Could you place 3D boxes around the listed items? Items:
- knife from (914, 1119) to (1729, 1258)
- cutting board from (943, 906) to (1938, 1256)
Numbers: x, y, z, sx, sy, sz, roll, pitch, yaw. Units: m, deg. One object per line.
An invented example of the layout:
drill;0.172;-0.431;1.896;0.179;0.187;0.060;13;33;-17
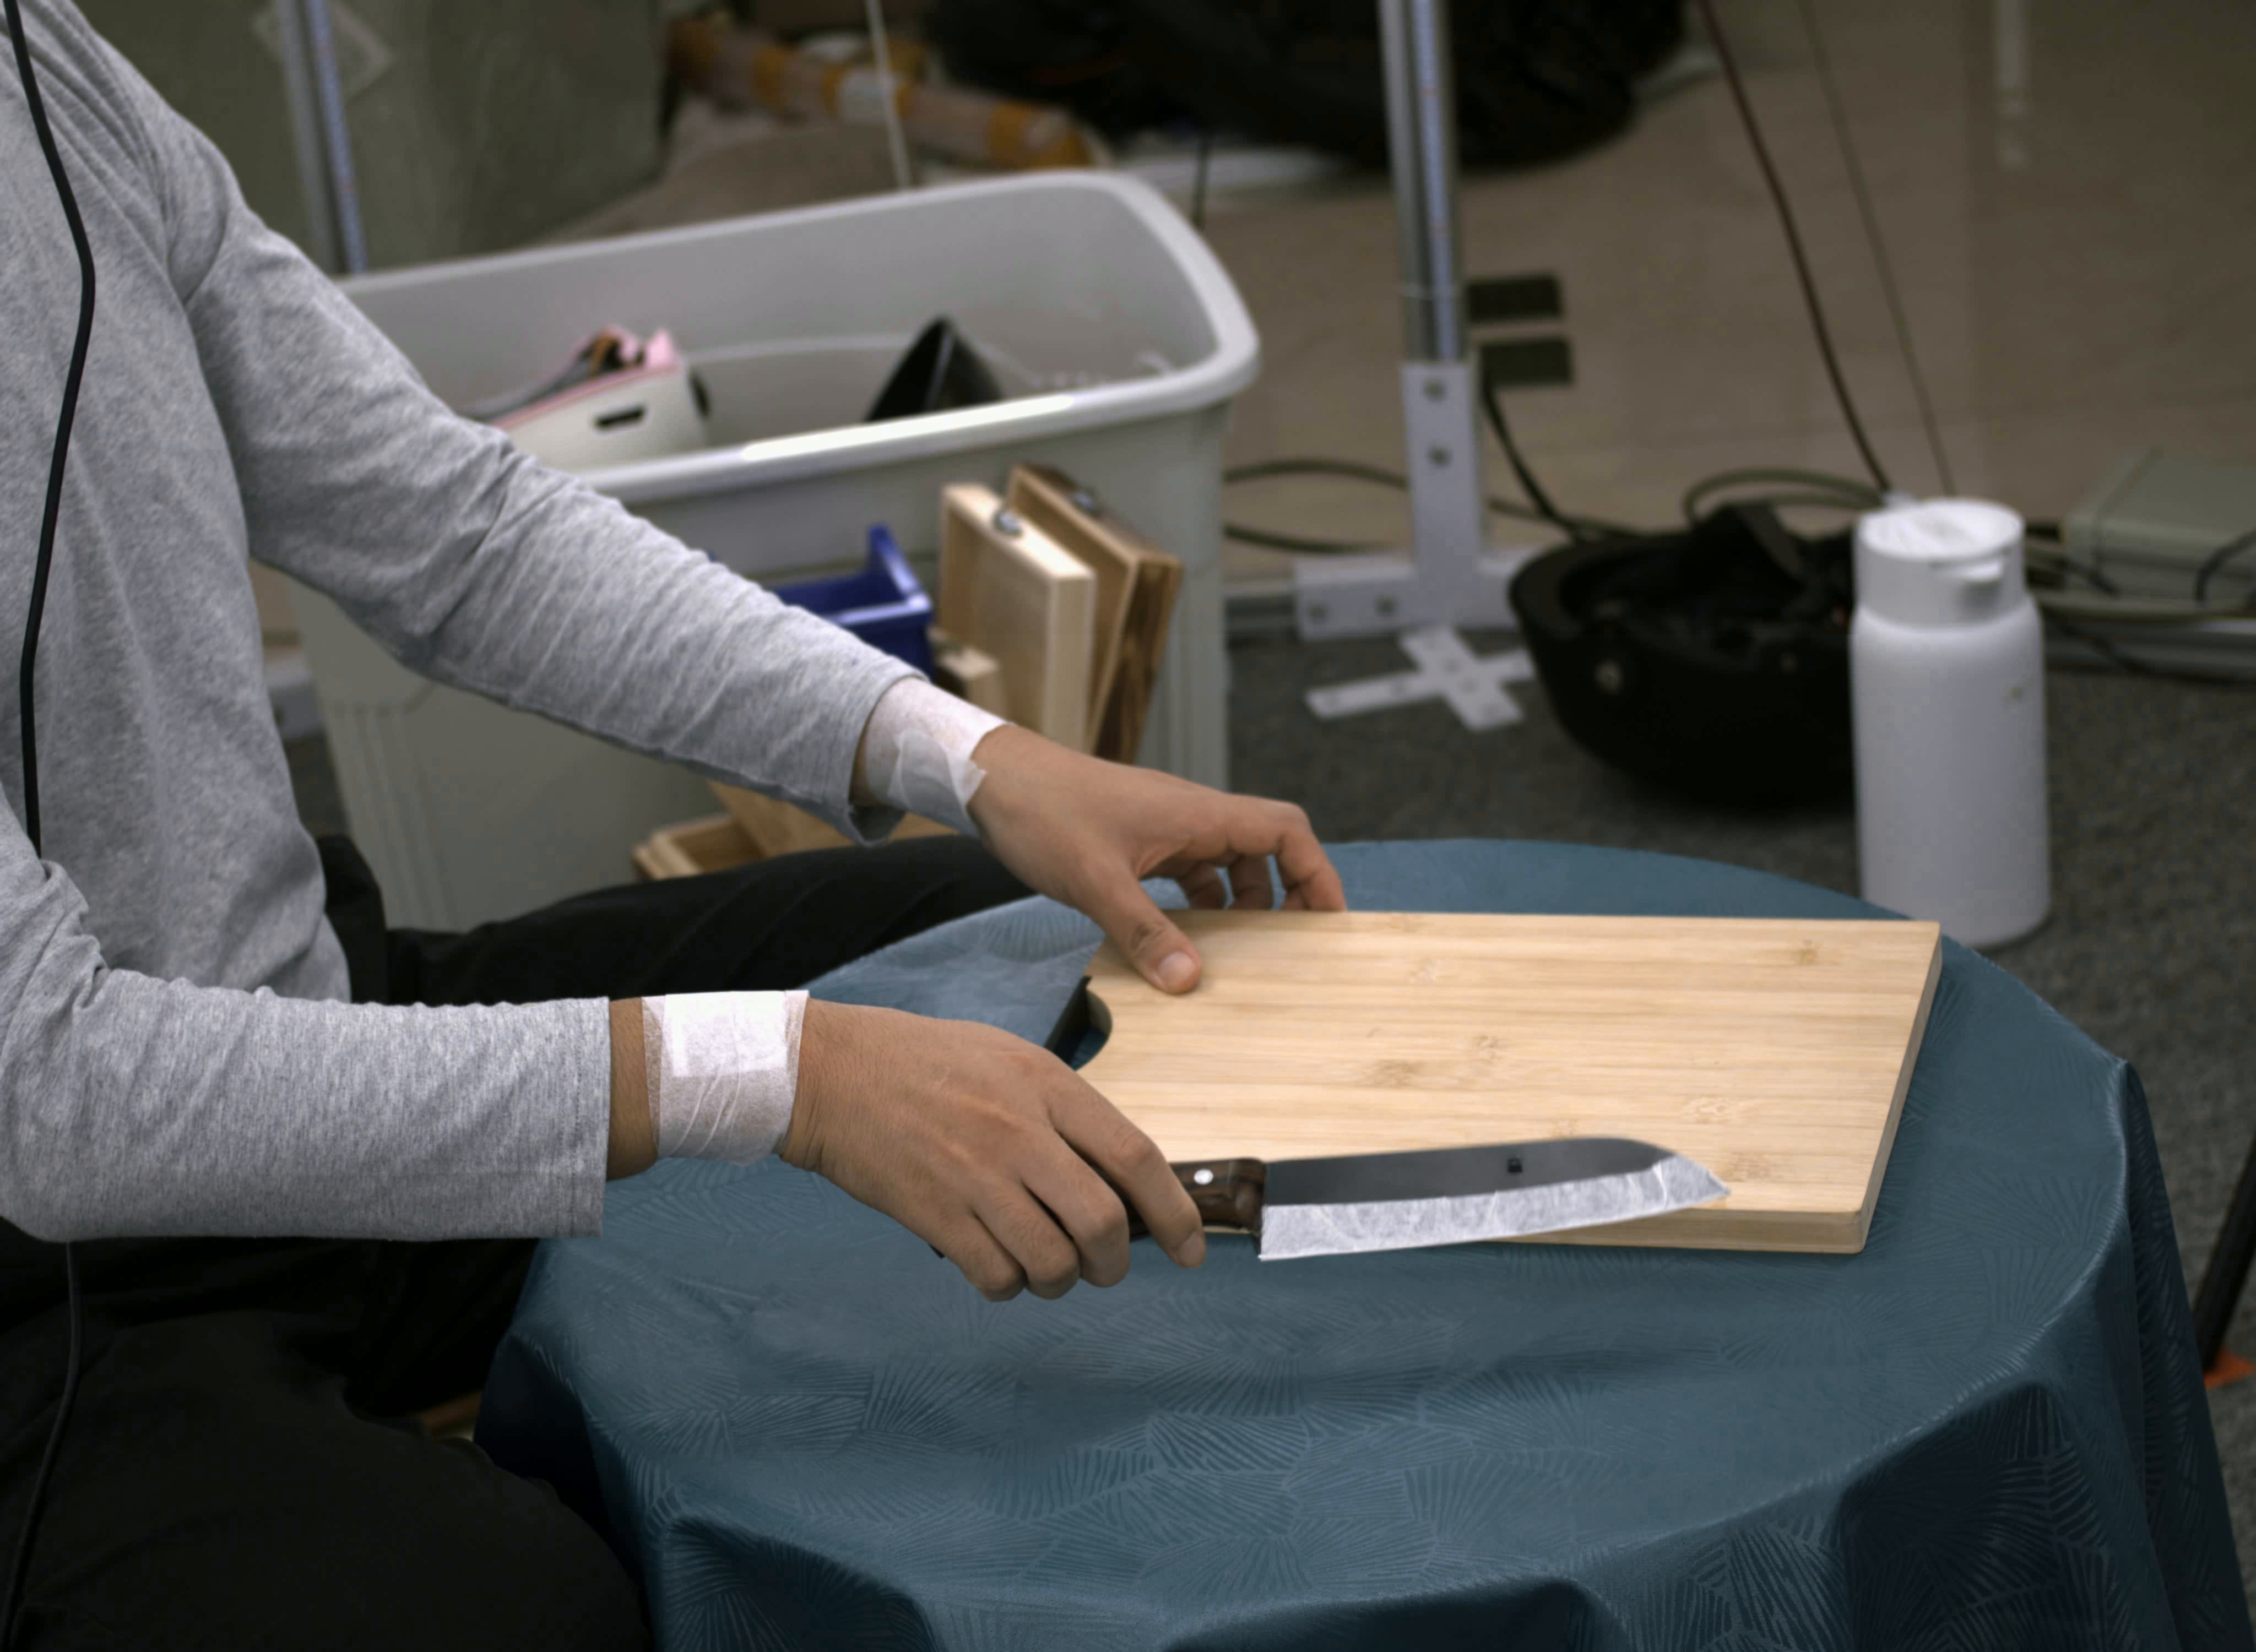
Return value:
knife;0.068;0.131;2.006;0.288;0.020;0.049;-4;53;3
cutting board;0.126;0.095;2.197;0.348;0.024;0.247;1;25;15
